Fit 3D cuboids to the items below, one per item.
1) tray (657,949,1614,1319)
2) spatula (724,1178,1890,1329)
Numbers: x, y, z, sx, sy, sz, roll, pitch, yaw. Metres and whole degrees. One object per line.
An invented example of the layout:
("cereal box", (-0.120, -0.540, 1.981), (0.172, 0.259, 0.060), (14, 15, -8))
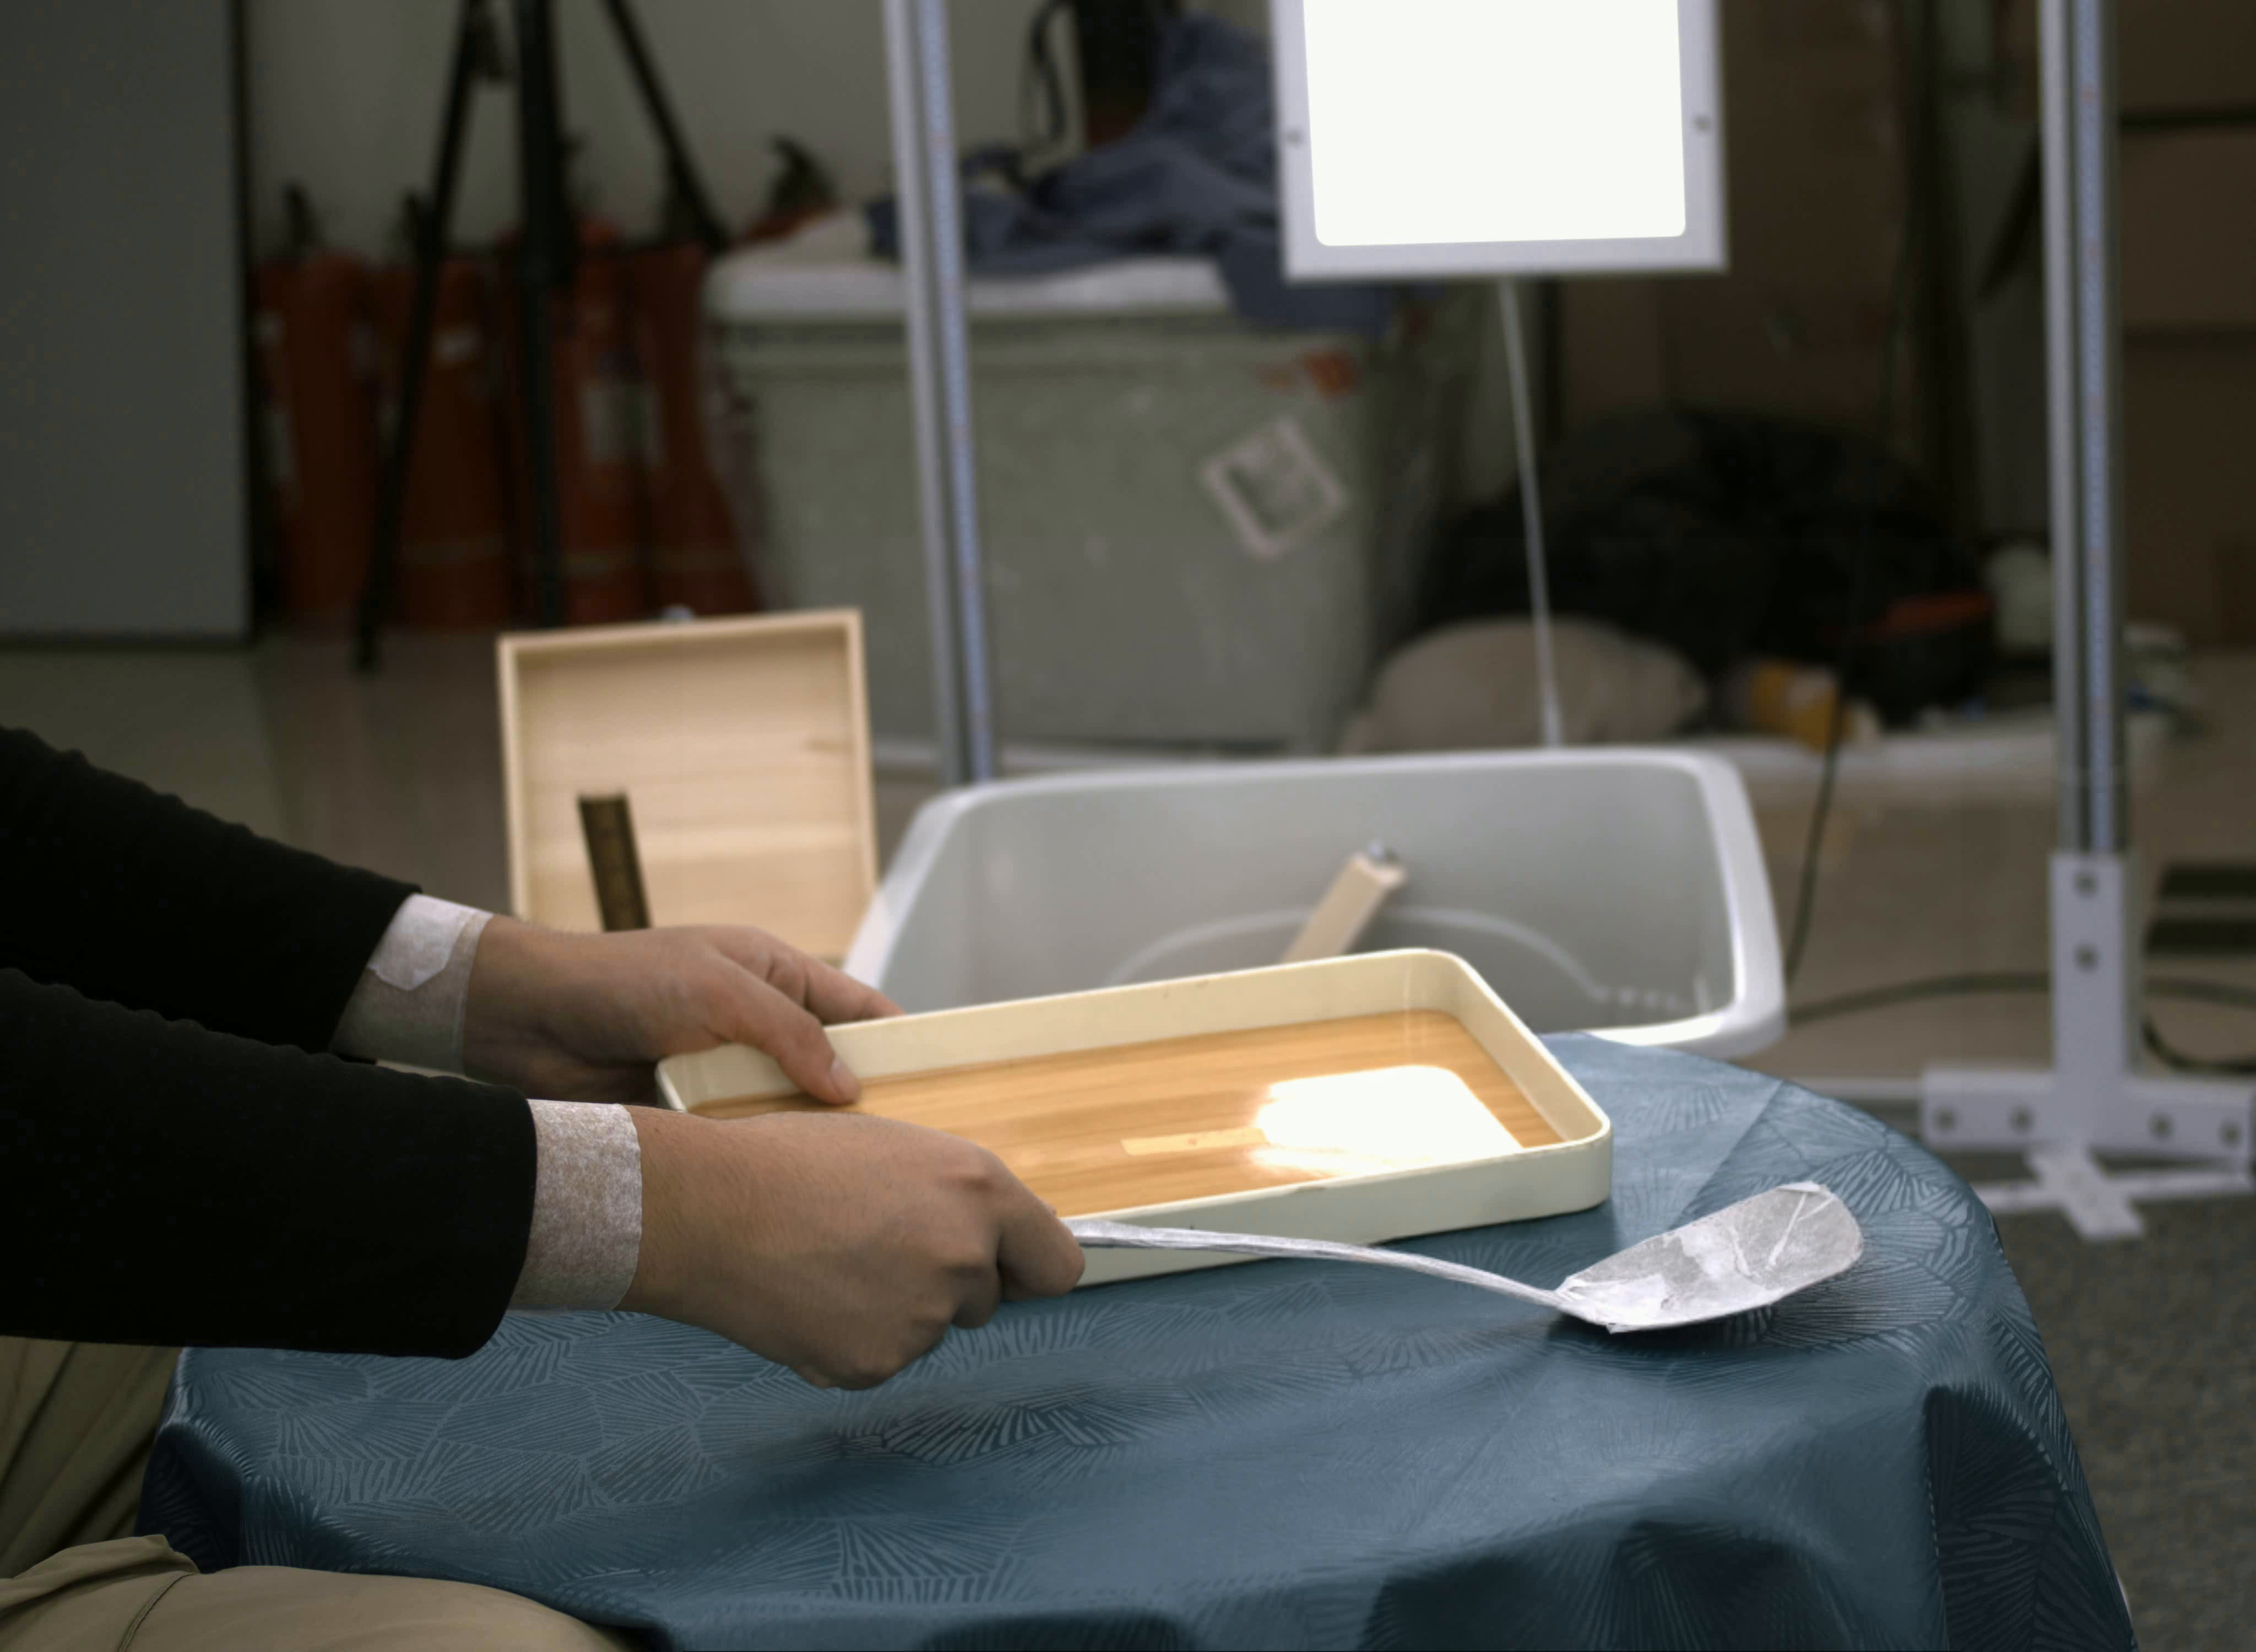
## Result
("tray", (-0.001, 0.103, 1.889), (0.297, 0.027, 0.193), (-7, 20, -11))
("spatula", (0.057, 0.127, 1.711), (0.361, 0.045, 0.099), (5, 11, -7))
